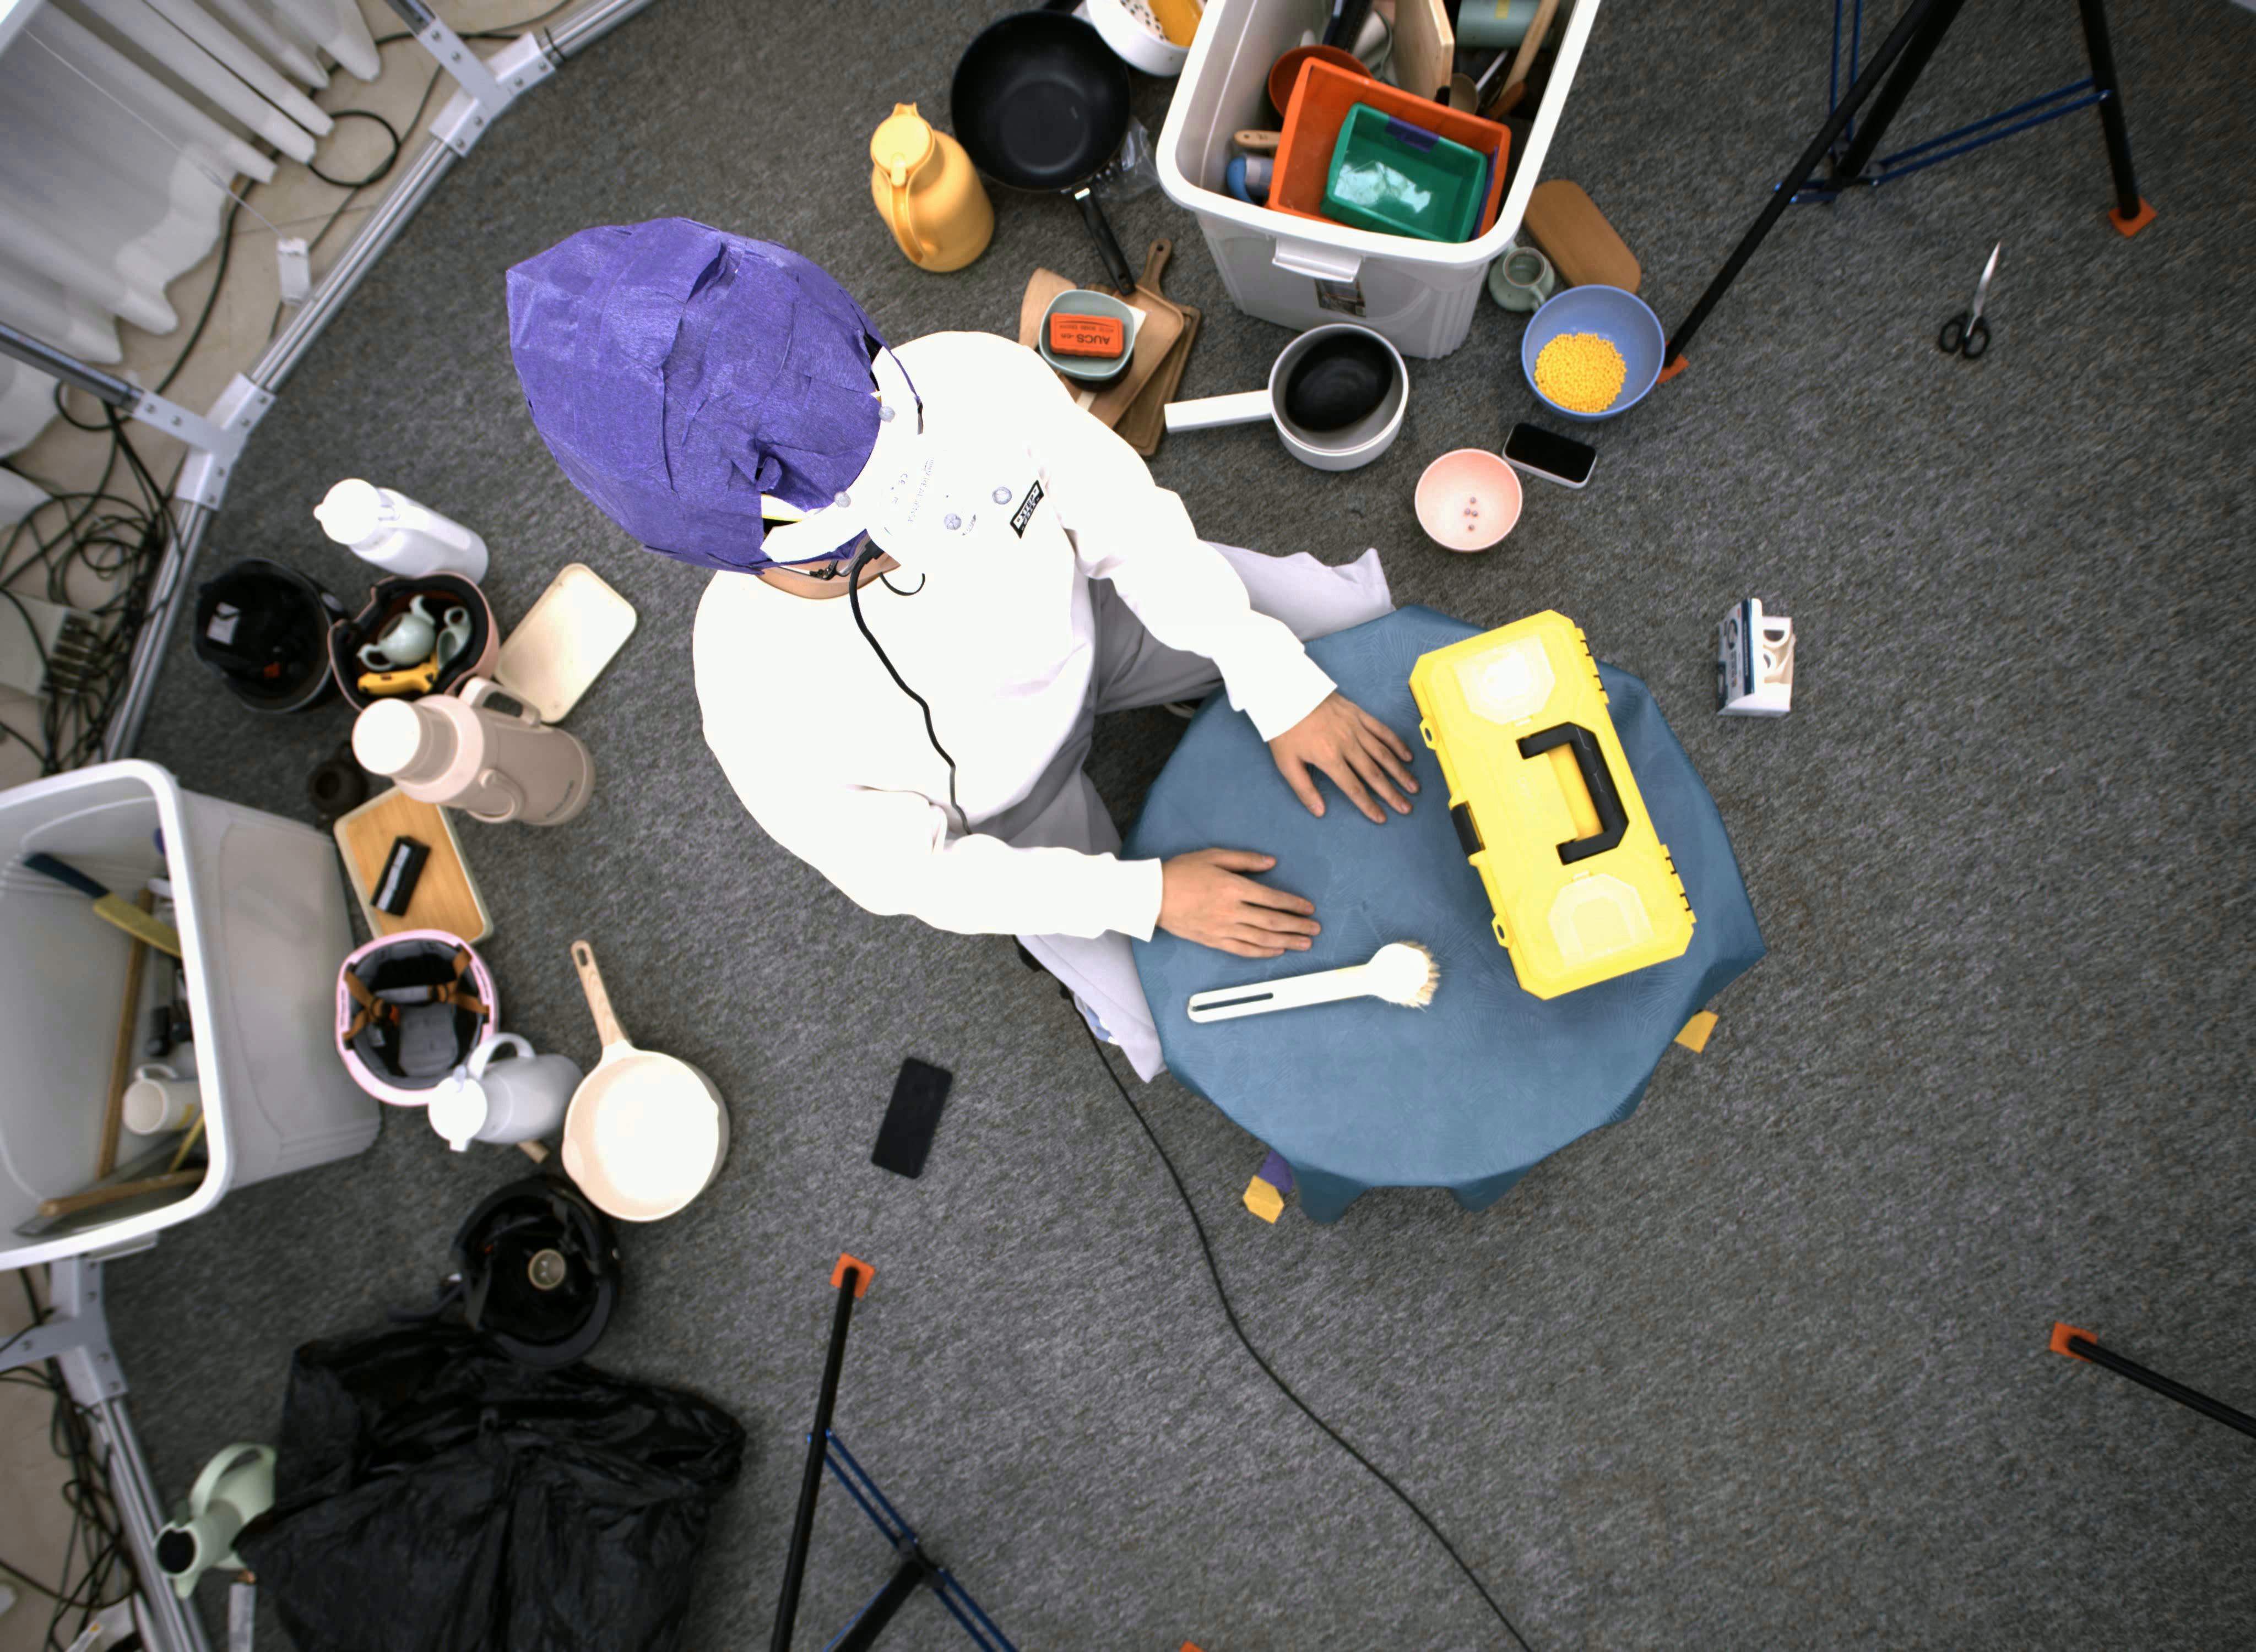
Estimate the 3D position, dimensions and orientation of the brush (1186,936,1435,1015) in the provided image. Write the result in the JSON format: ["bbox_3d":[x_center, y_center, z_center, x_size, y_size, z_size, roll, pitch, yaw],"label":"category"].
[{"bbox_3d":[0.192,0.167,1.462,0.269,0.056,0.067,-15,62,24],"label":"brush"}]

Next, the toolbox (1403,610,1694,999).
[{"bbox_3d":[0.406,-0.019,1.351,0.182,0.173,0.349,-19,82,7],"label":"toolbox"}]
